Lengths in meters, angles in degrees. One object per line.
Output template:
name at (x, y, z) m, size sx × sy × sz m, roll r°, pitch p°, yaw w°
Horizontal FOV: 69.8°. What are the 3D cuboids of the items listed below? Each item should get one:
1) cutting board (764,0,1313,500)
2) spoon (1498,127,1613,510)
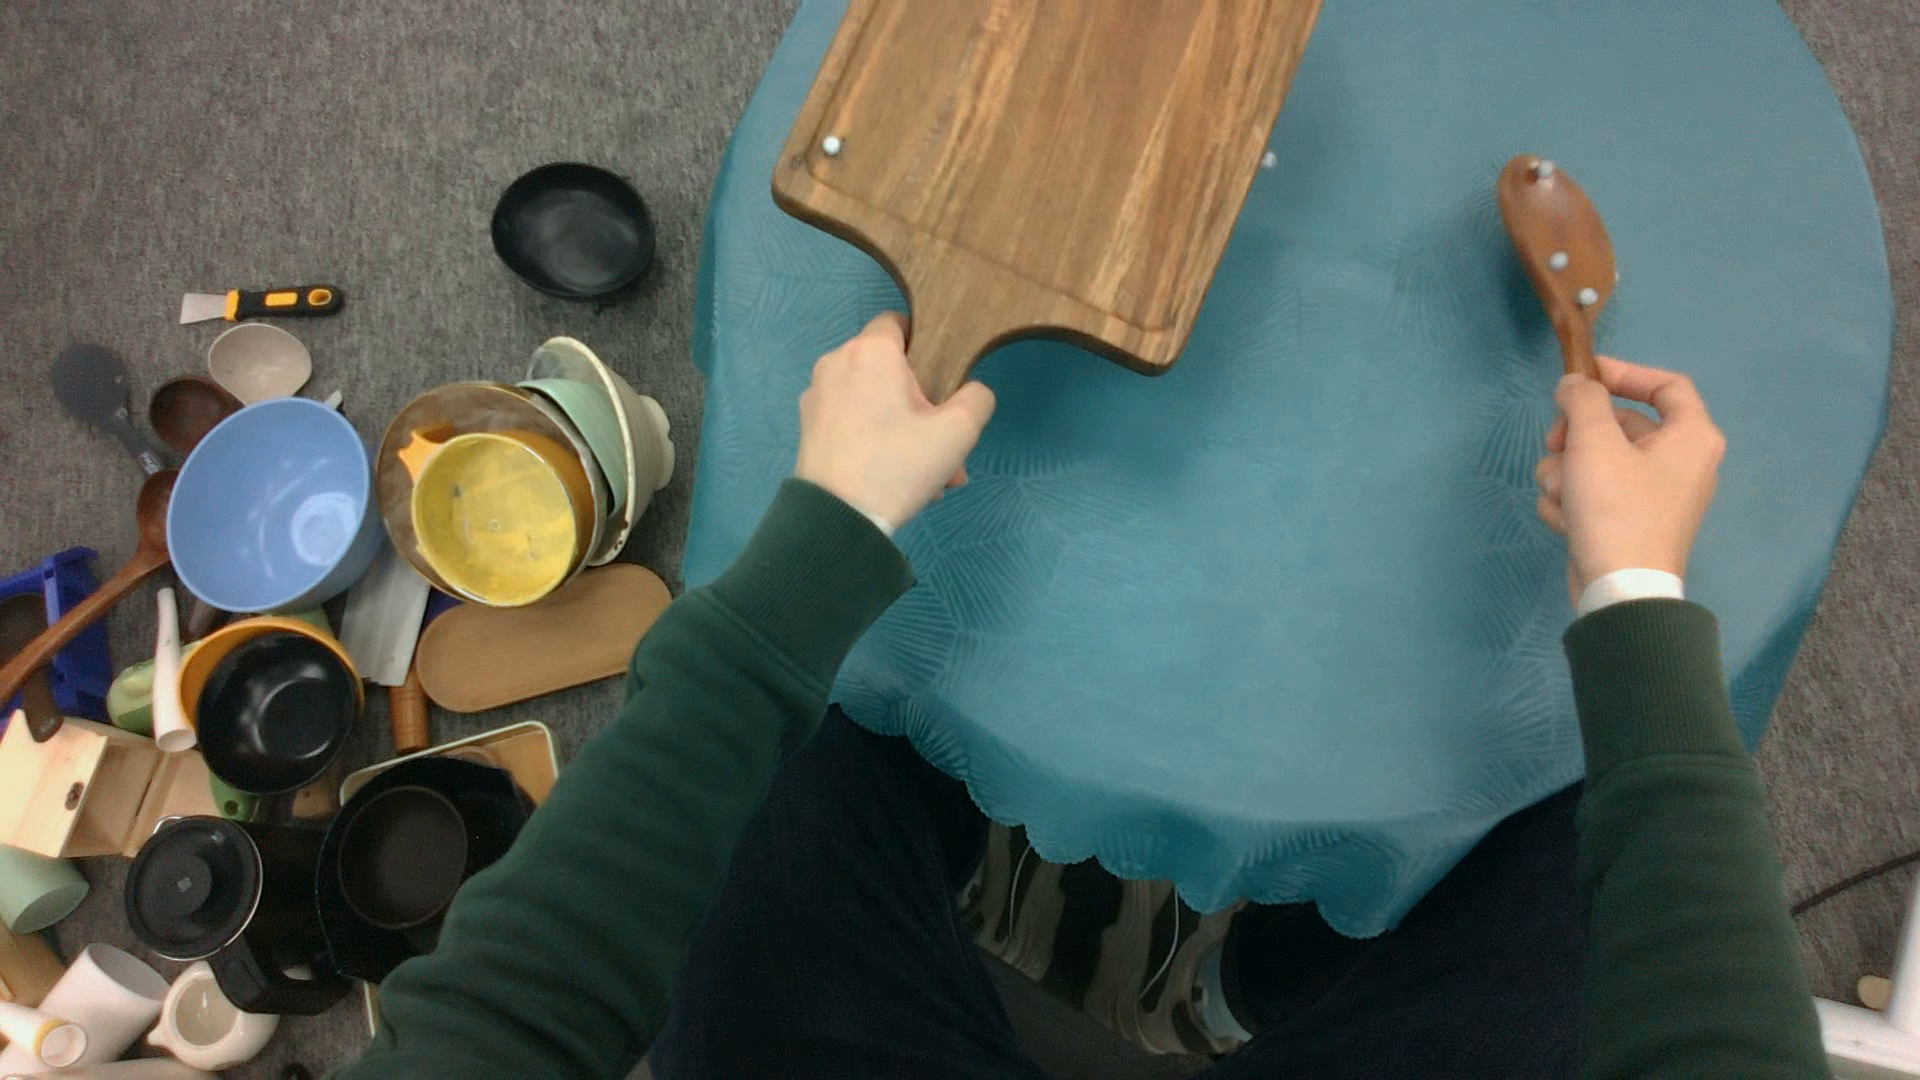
cutting board at (0.029, -0.180, 0.625) m, size 0.201 × 0.023 × 0.353 m, roll 24°, pitch 78°, yaw -4°
spoon at (0.277, -0.107, 0.638) m, size 0.075 × 0.017 × 0.217 m, roll 28°, pitch 53°, yaw -30°
